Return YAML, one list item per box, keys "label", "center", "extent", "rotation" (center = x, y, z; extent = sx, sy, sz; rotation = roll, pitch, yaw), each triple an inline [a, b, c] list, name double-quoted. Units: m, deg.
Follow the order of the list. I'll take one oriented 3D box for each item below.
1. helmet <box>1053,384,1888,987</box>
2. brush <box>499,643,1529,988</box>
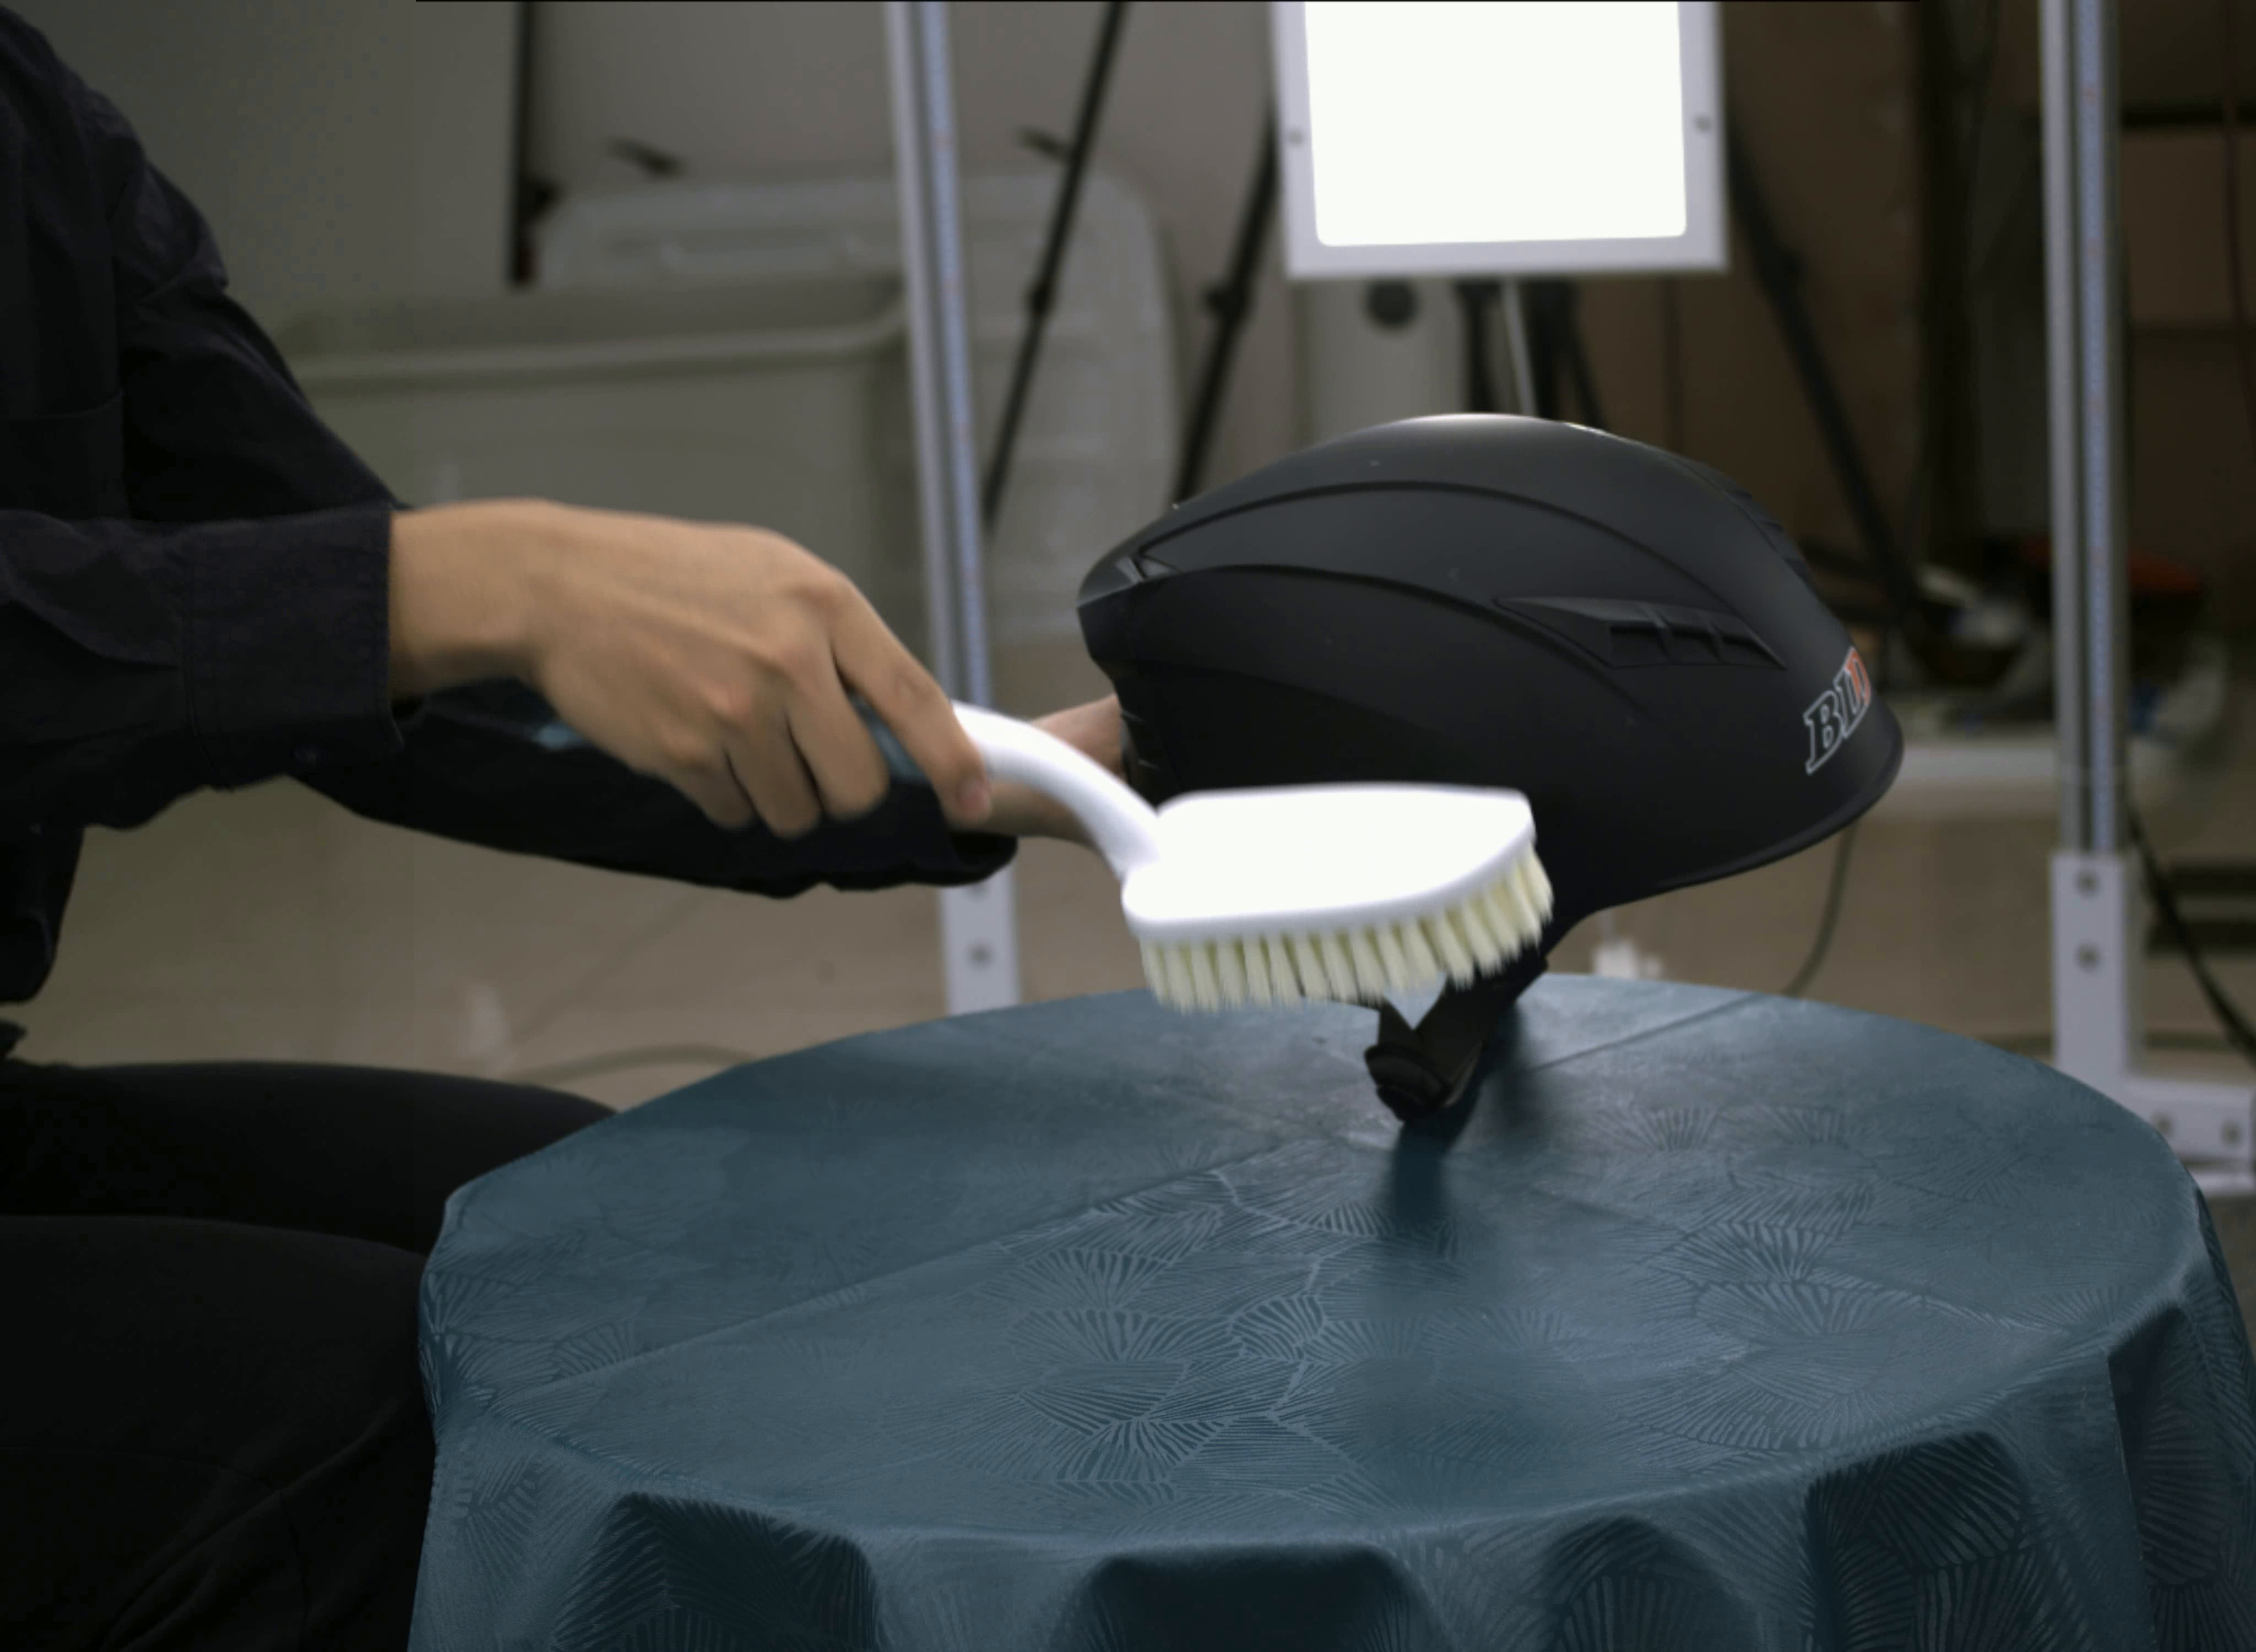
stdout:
- label: "helmet"
  center: [0.117, -0.066, 1.918]
  extent: [0.282, 0.172, 0.242]
  rotation: [0, 27, 29]
- label: "brush"
  center: [-0.037, 0.002, 1.714]
  extent: [0.327, 0.085, 0.082]
  rotation: [7, -1, 12]
